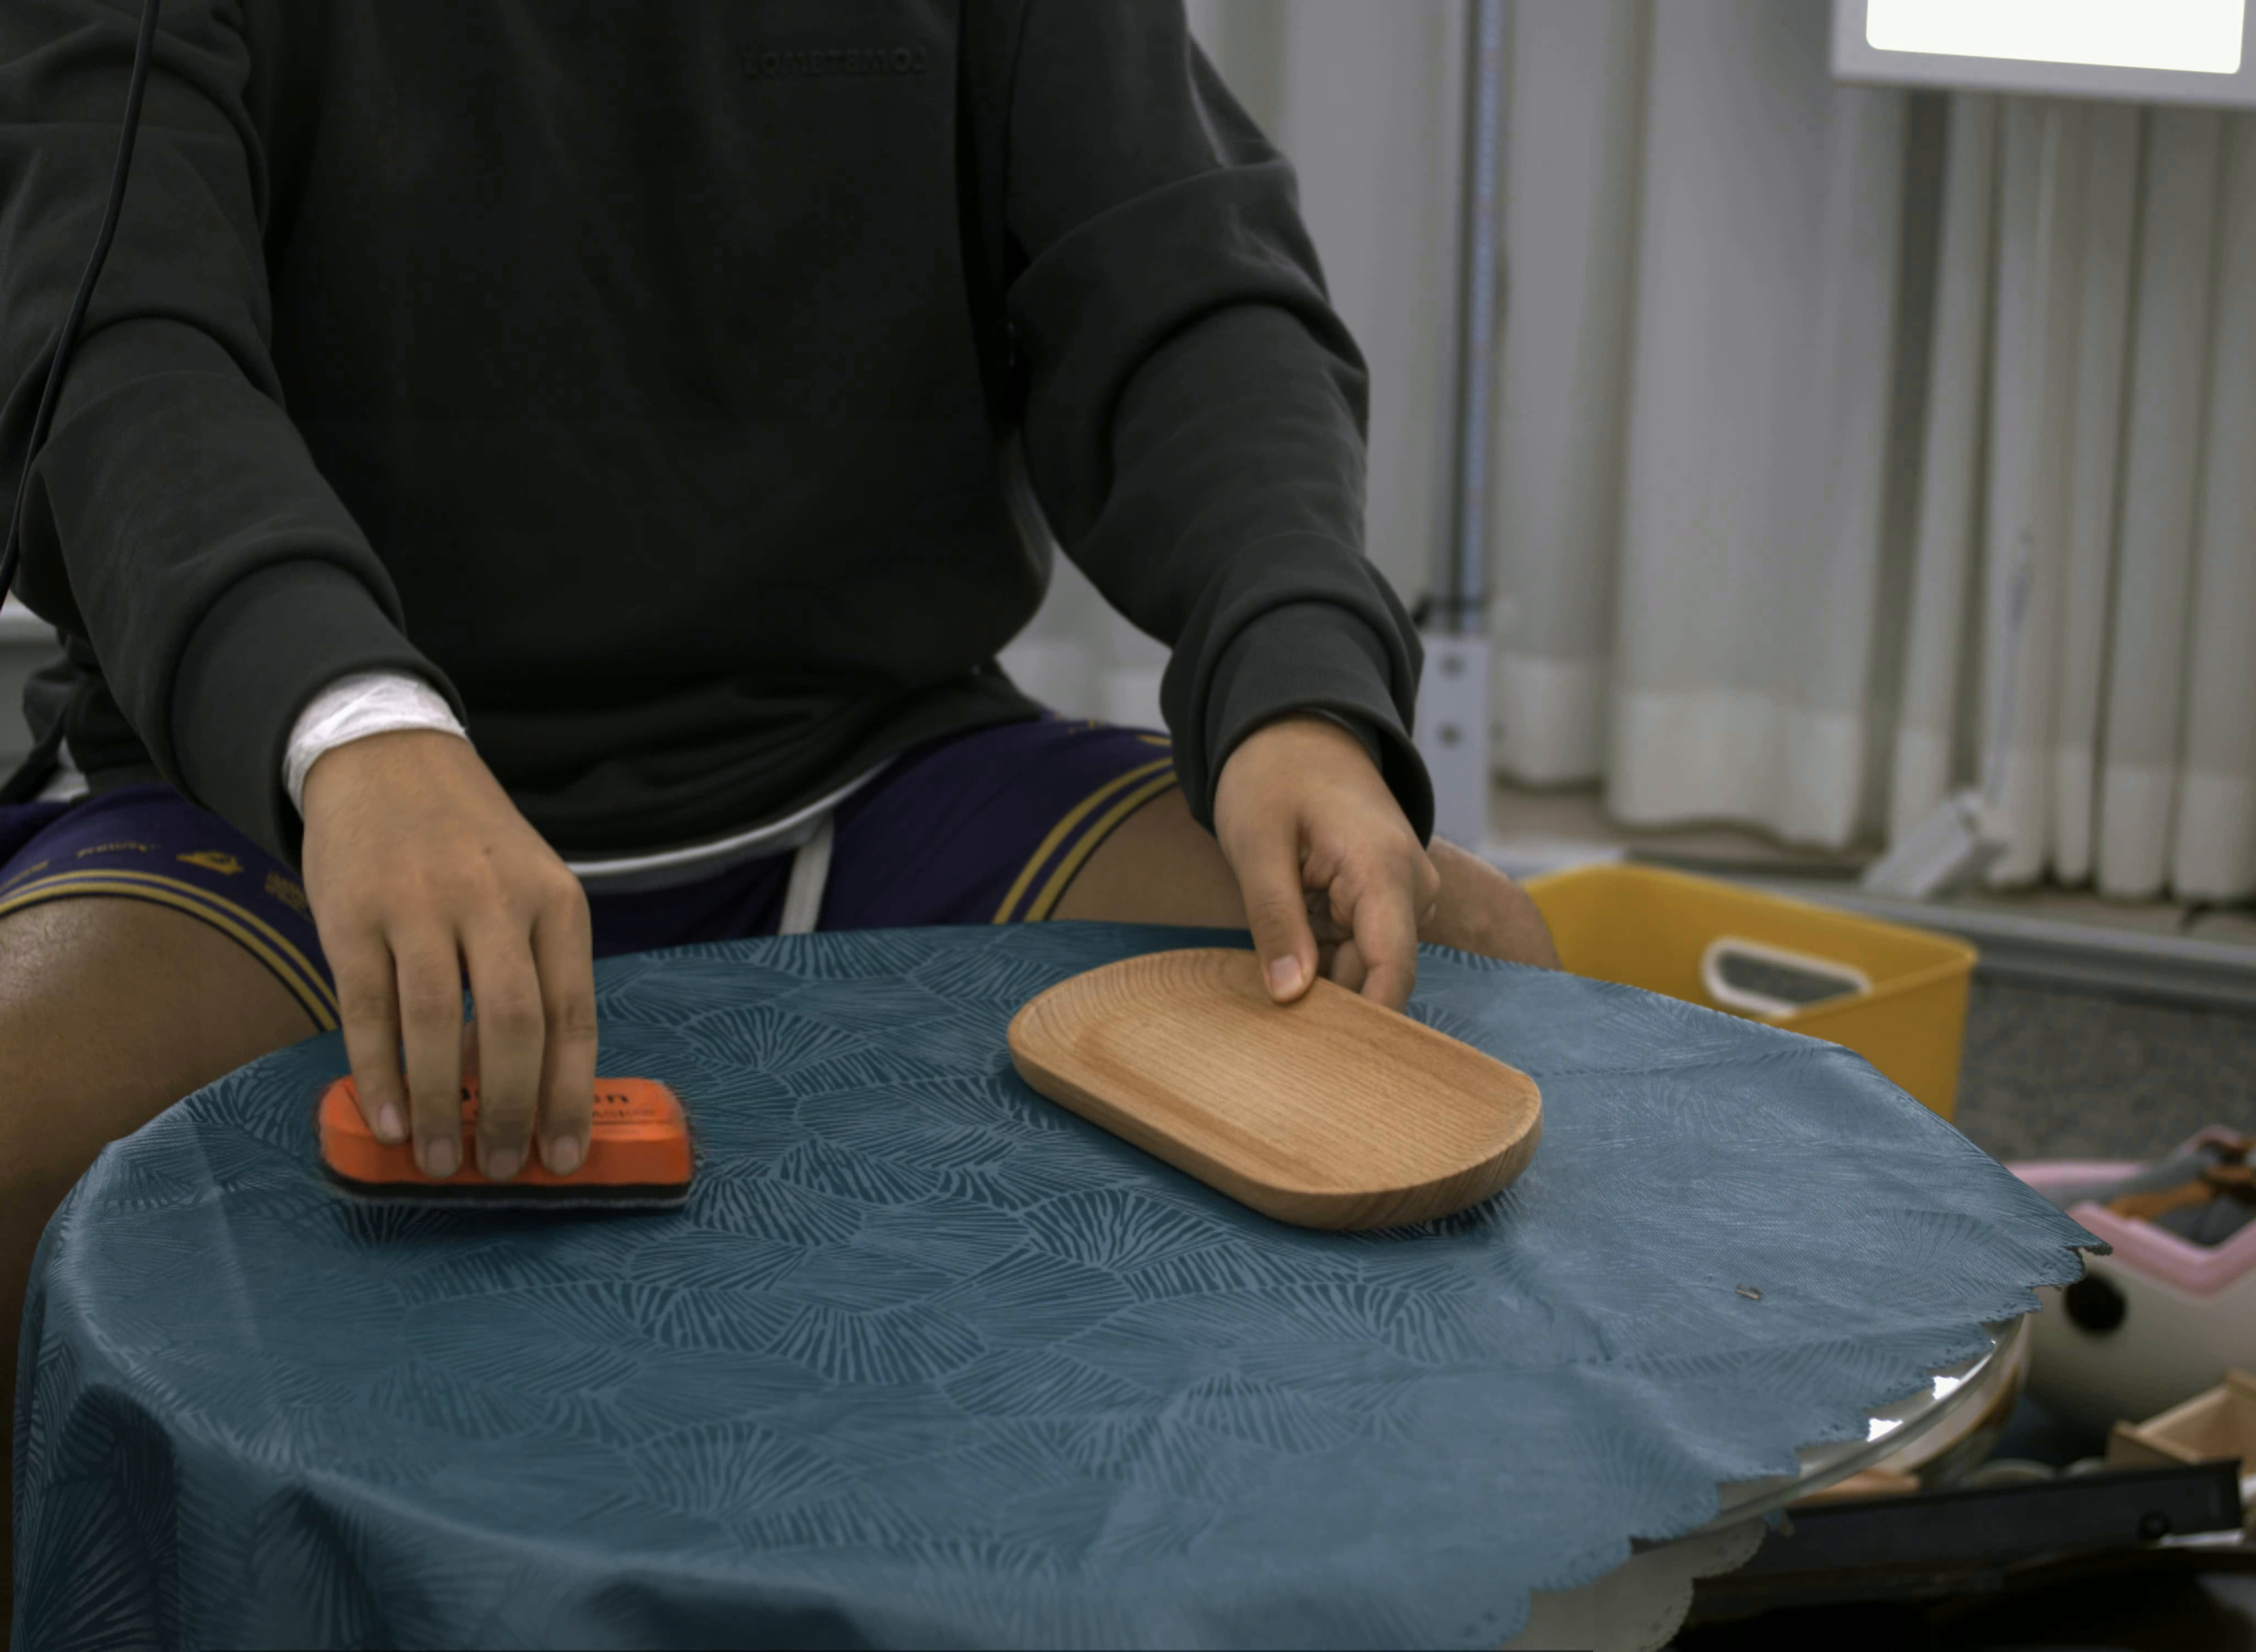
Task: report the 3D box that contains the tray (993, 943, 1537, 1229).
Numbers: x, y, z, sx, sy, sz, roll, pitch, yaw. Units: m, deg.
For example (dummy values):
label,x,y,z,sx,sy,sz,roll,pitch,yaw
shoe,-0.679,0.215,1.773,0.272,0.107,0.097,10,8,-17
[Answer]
label,x,y,z,sx,sy,sz,roll,pitch,yaw
tray,0.042,0.081,1.676,0.102,0.020,0.228,-19,23,-28

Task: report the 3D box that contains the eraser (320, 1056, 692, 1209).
label,x,y,z,sx,sy,sz,roll,pitch,yaw
eraser,-0.189,0.093,1.600,0.108,0.023,0.058,2,26,-18
